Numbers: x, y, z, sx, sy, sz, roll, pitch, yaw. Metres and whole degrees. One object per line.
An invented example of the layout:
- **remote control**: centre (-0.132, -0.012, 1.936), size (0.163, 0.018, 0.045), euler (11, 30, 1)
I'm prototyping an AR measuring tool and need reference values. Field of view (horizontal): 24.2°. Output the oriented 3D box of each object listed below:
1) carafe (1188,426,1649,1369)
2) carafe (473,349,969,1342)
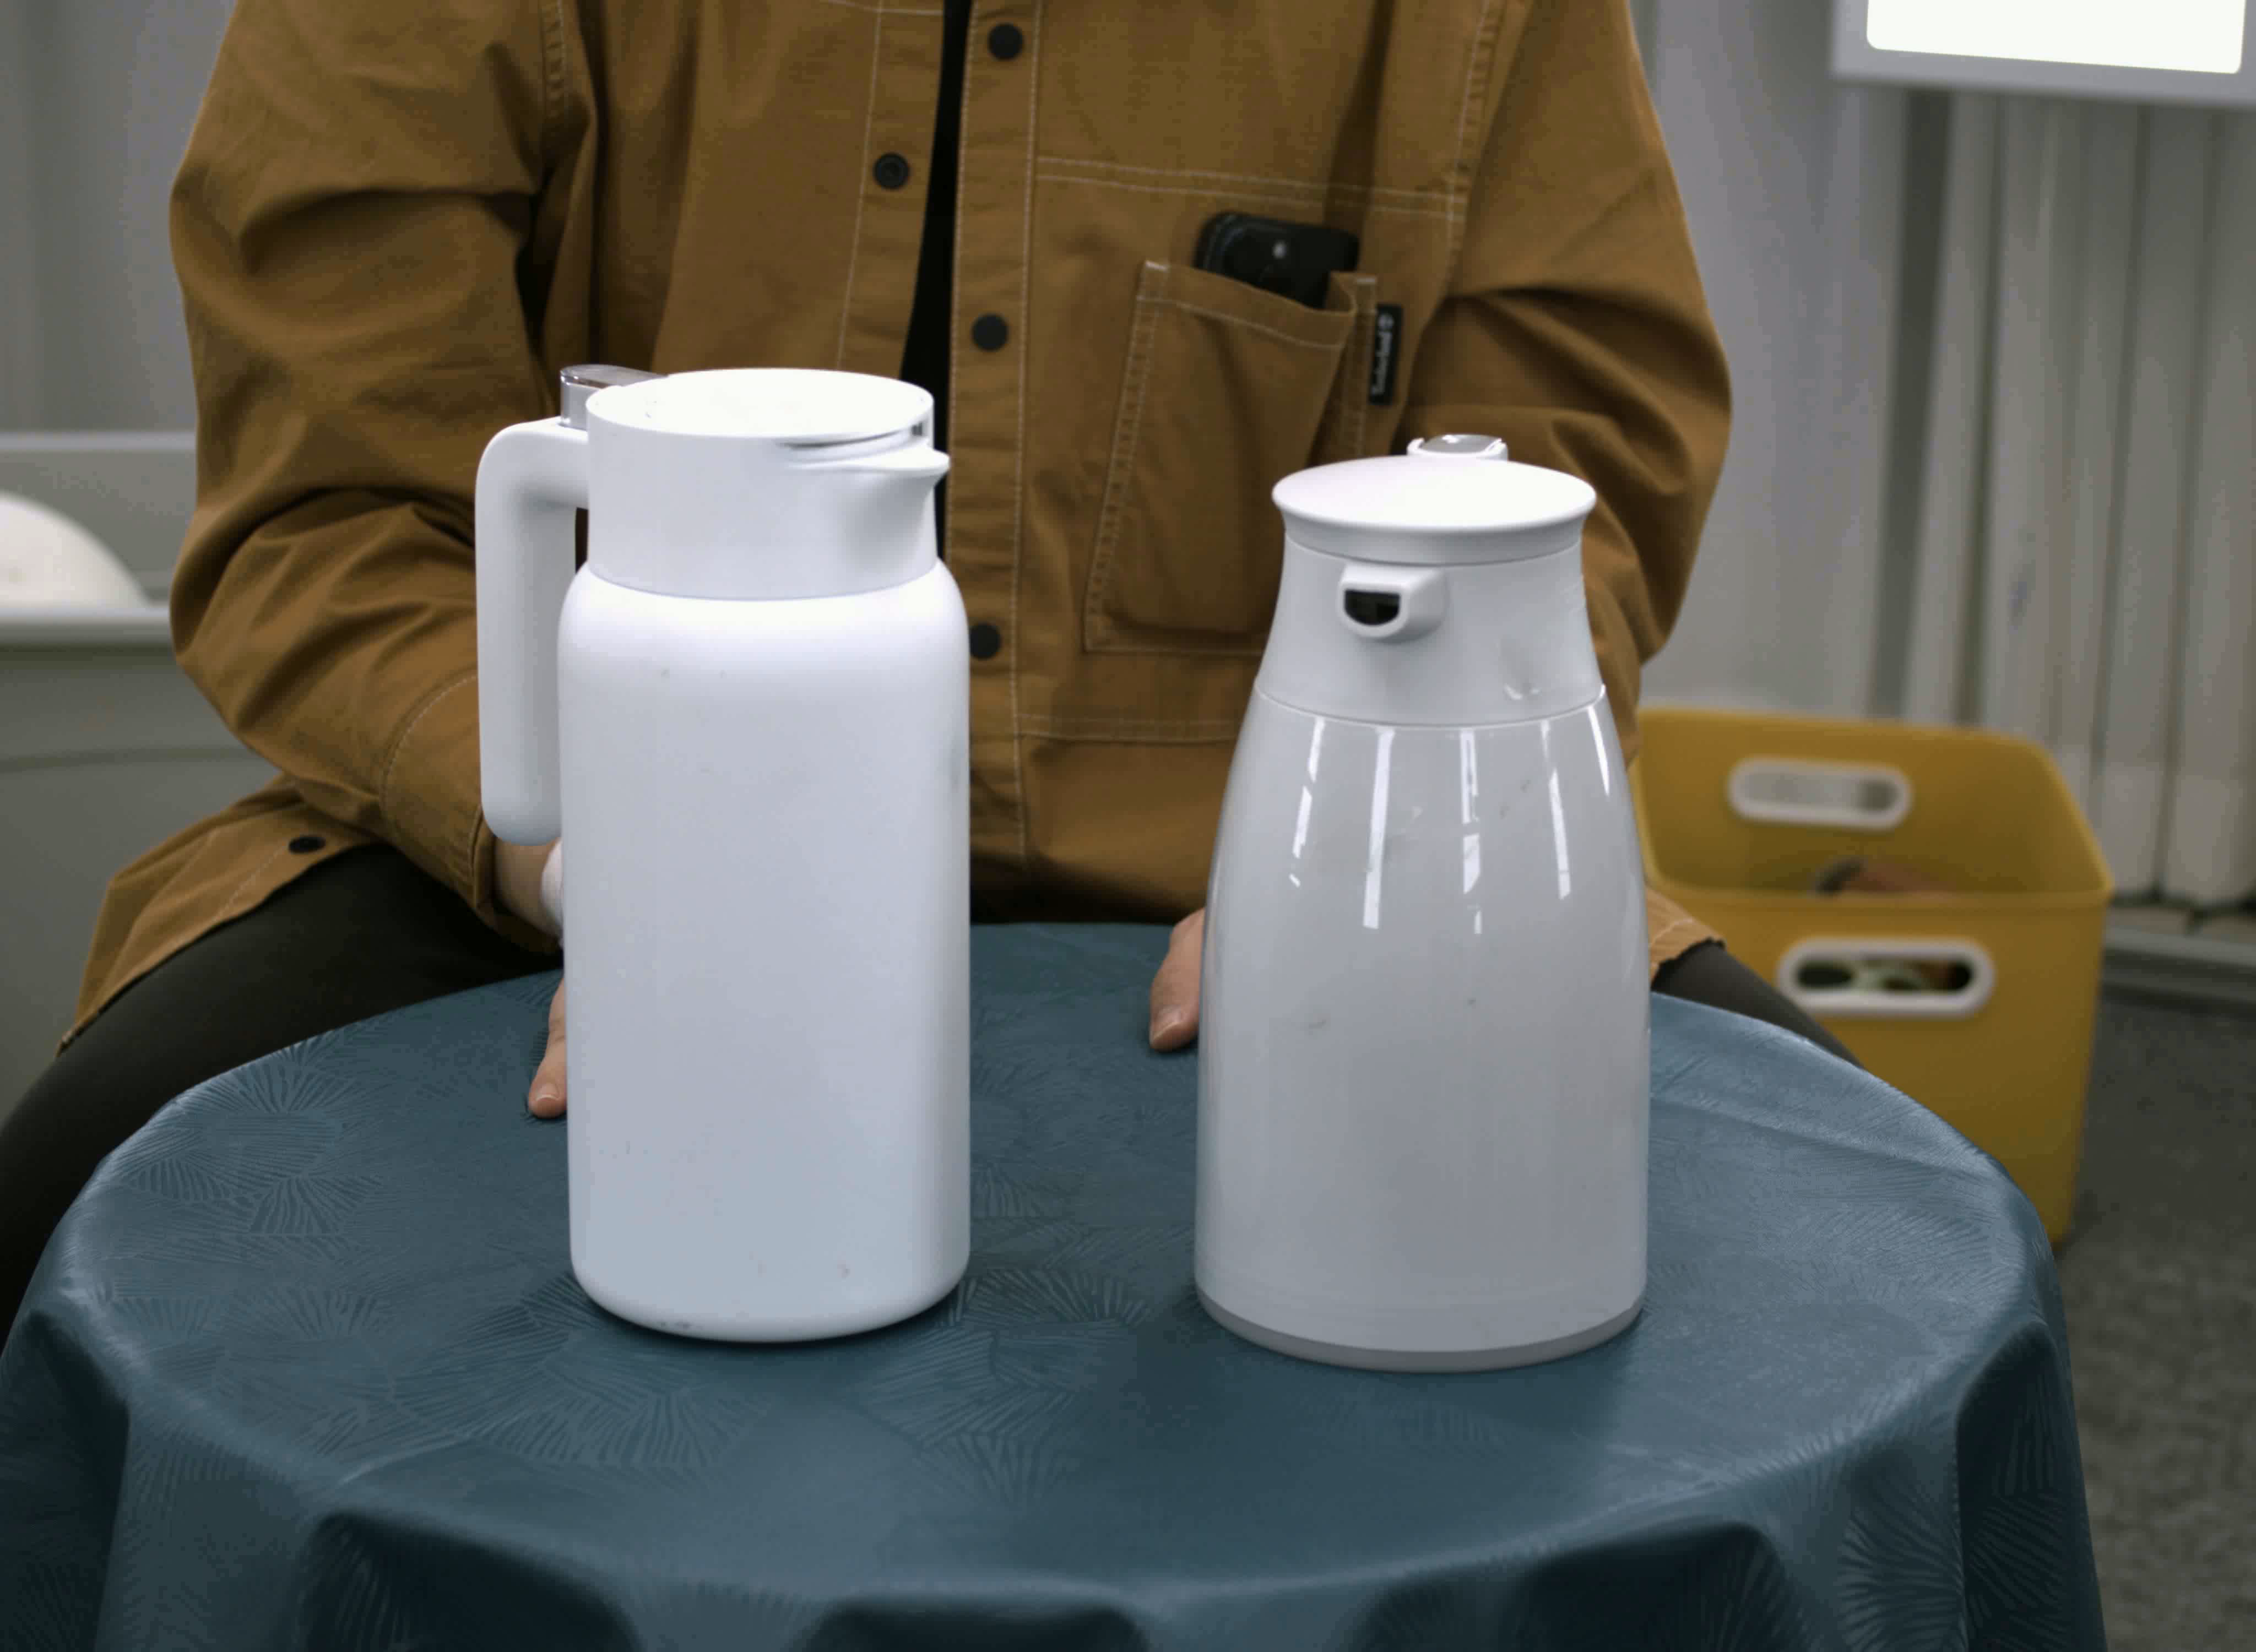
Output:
- **carafe**: centre (0.090, 0.012, 1.522), size (0.131, 0.250, 0.168), euler (5, 16, 16)
- **carafe**: centre (-0.118, 0.003, 1.512), size (0.170, 0.271, 0.124), euler (12, 22, 37)
